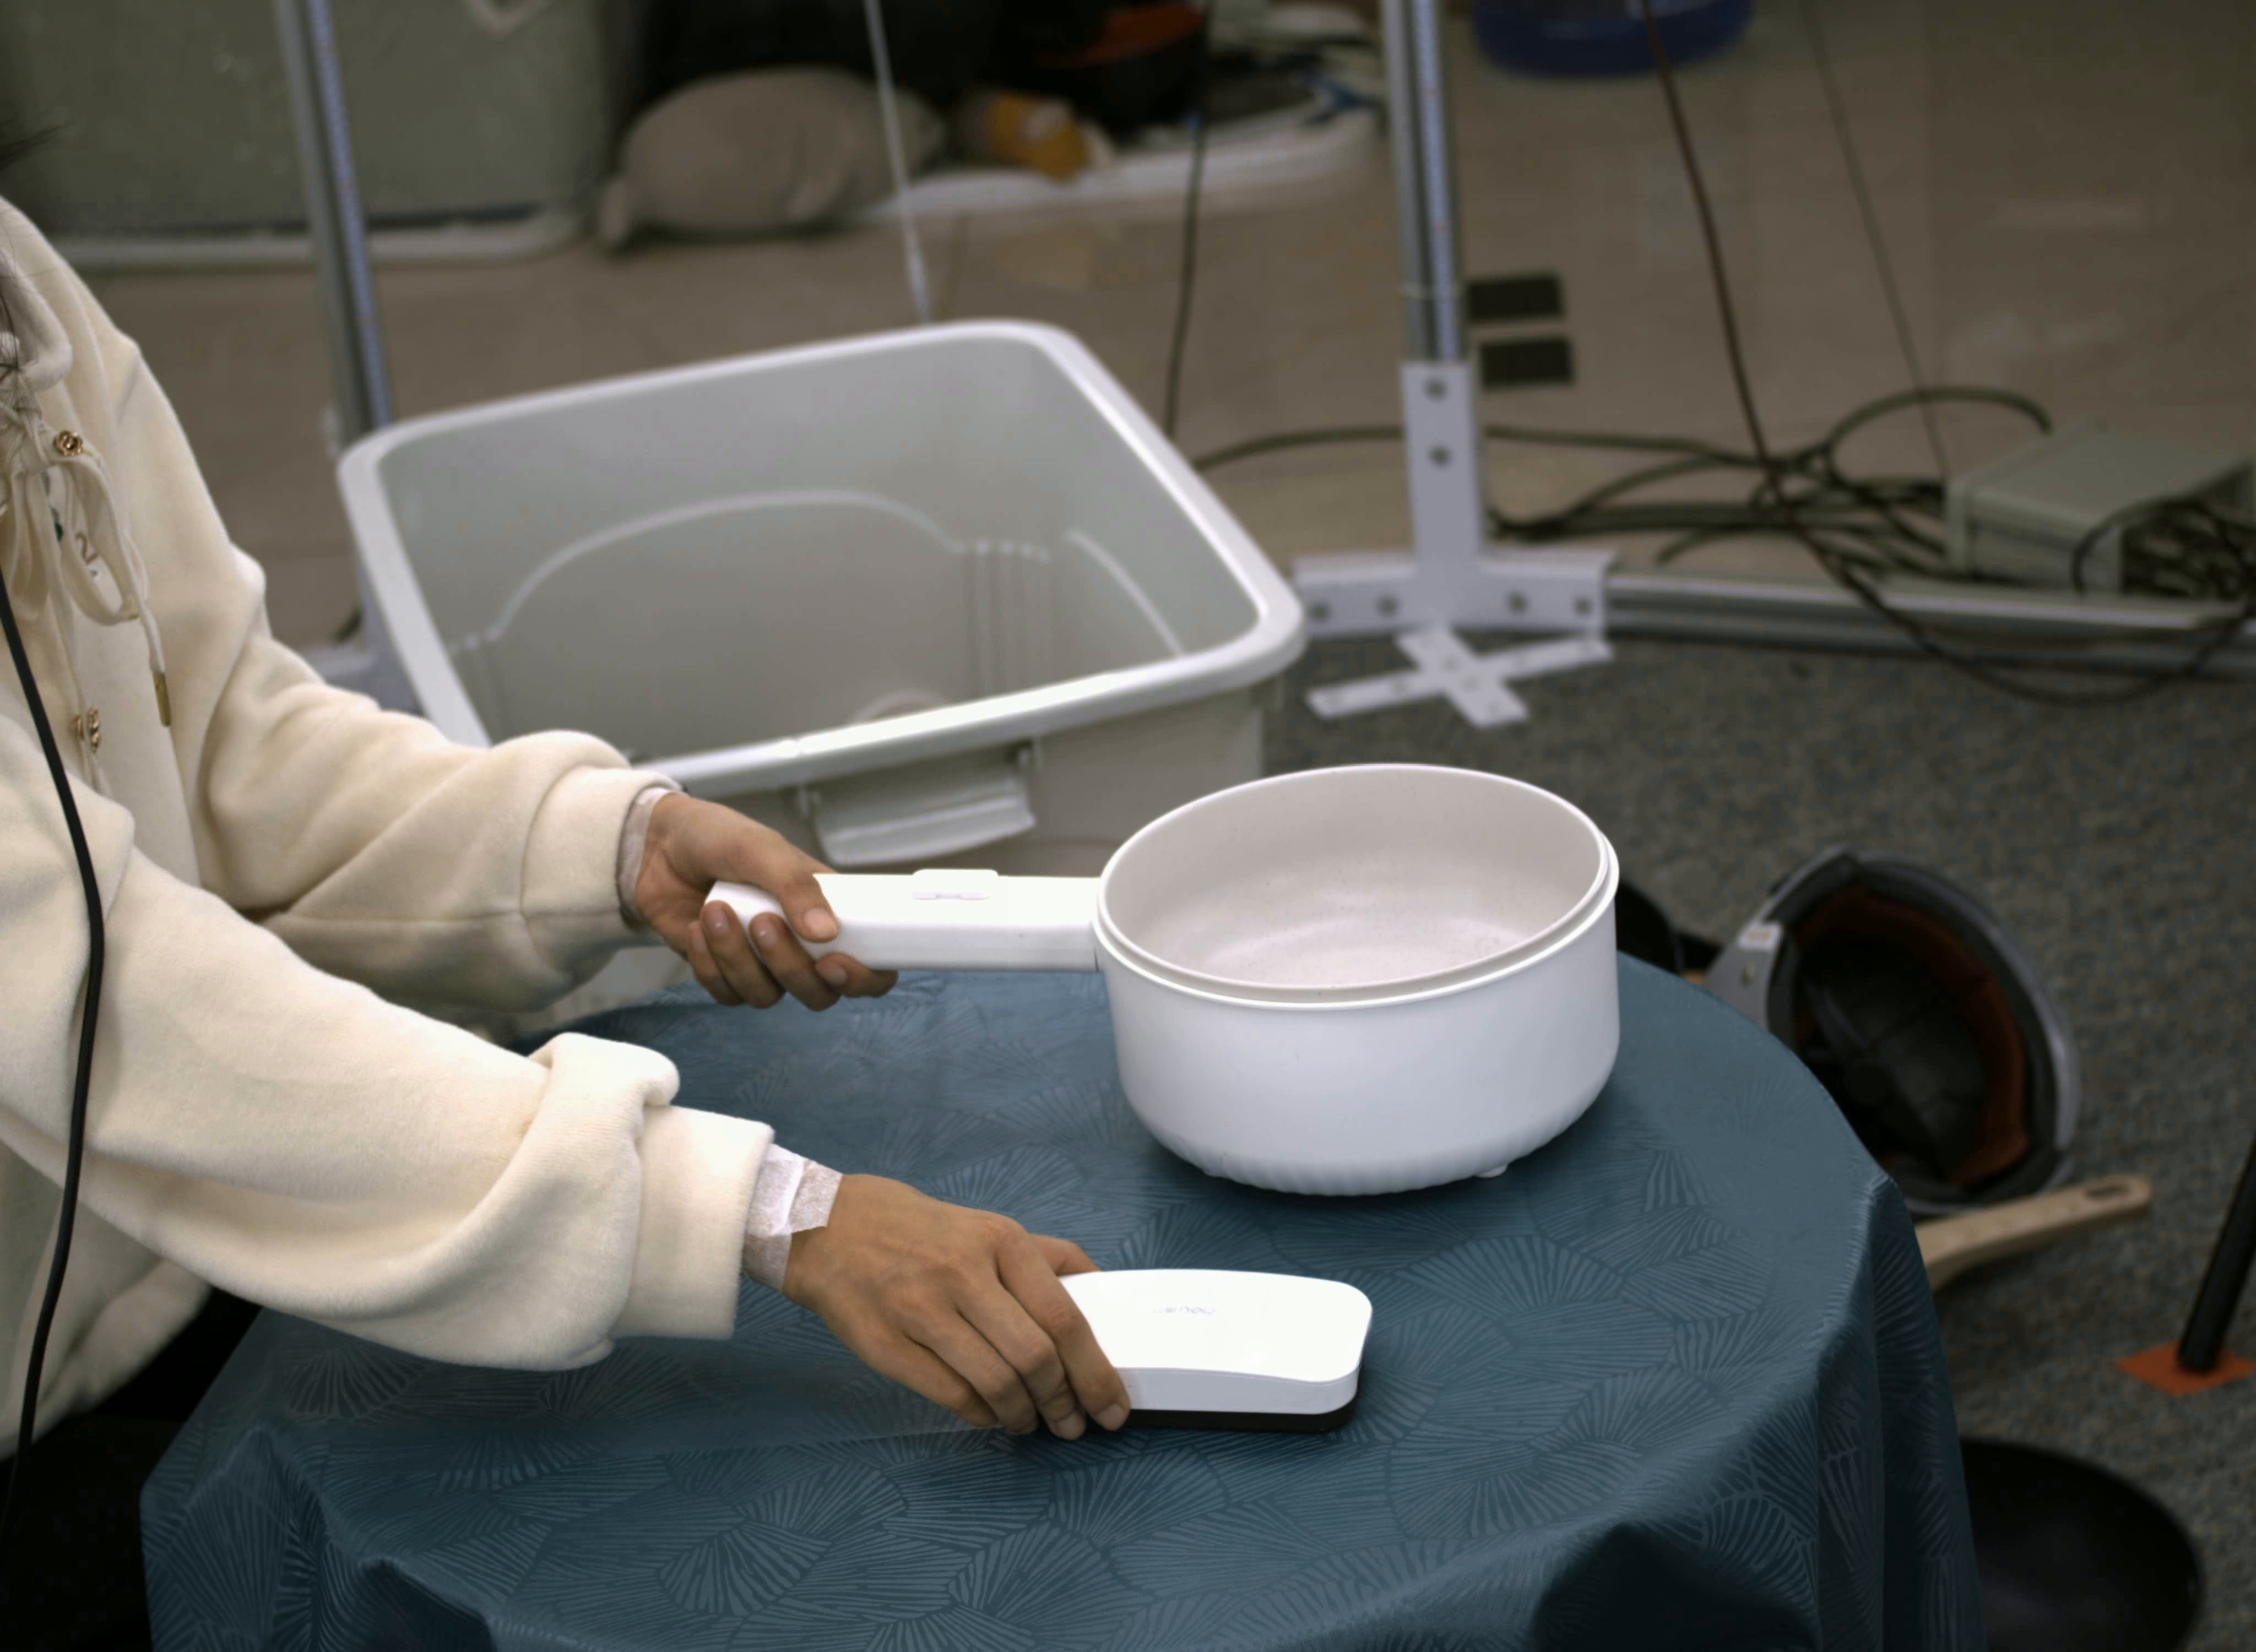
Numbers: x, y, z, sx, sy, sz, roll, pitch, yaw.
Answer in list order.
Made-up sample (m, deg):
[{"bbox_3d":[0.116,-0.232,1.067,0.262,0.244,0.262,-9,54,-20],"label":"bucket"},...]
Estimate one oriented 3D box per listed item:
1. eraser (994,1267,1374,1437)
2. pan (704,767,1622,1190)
[{"bbox_3d":[0.021,0.186,2.003,0.131,0.035,0.062,1,27,14],"label":"eraser"},{"bbox_3d":[0.015,0.065,2.183,0.354,0.103,0.198,-3,24,13],"label":"pan"}]
